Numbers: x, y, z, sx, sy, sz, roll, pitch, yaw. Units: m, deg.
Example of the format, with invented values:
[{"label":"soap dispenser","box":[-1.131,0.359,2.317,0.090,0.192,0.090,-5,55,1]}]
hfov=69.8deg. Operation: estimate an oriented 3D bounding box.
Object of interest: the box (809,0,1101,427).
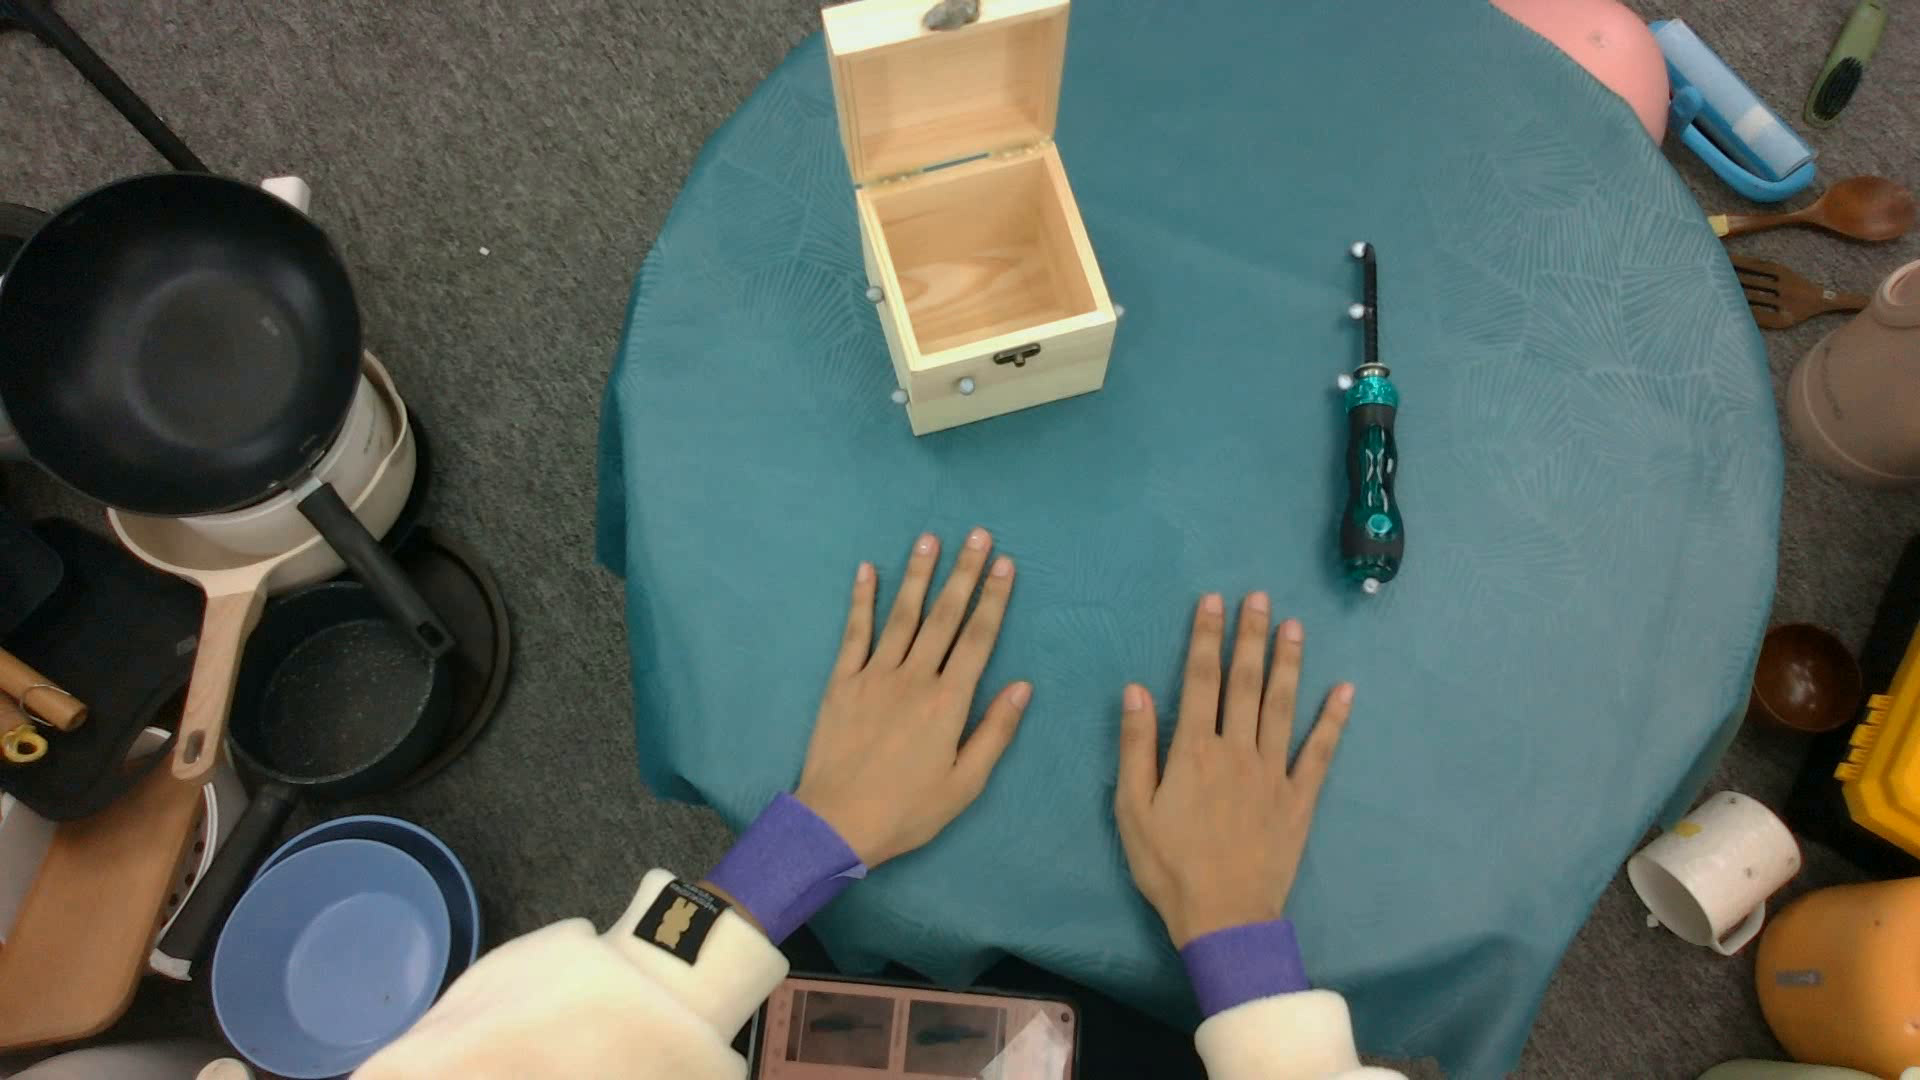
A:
[{"label":"box","box":[0.002,-0.153,0.642,0.102,0.184,0.134,-16,71,-5]}]

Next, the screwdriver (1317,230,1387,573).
[{"label":"screwdriver","box":[0.200,-0.076,0.702,0.034,0.033,0.190,5,70,1]}]
